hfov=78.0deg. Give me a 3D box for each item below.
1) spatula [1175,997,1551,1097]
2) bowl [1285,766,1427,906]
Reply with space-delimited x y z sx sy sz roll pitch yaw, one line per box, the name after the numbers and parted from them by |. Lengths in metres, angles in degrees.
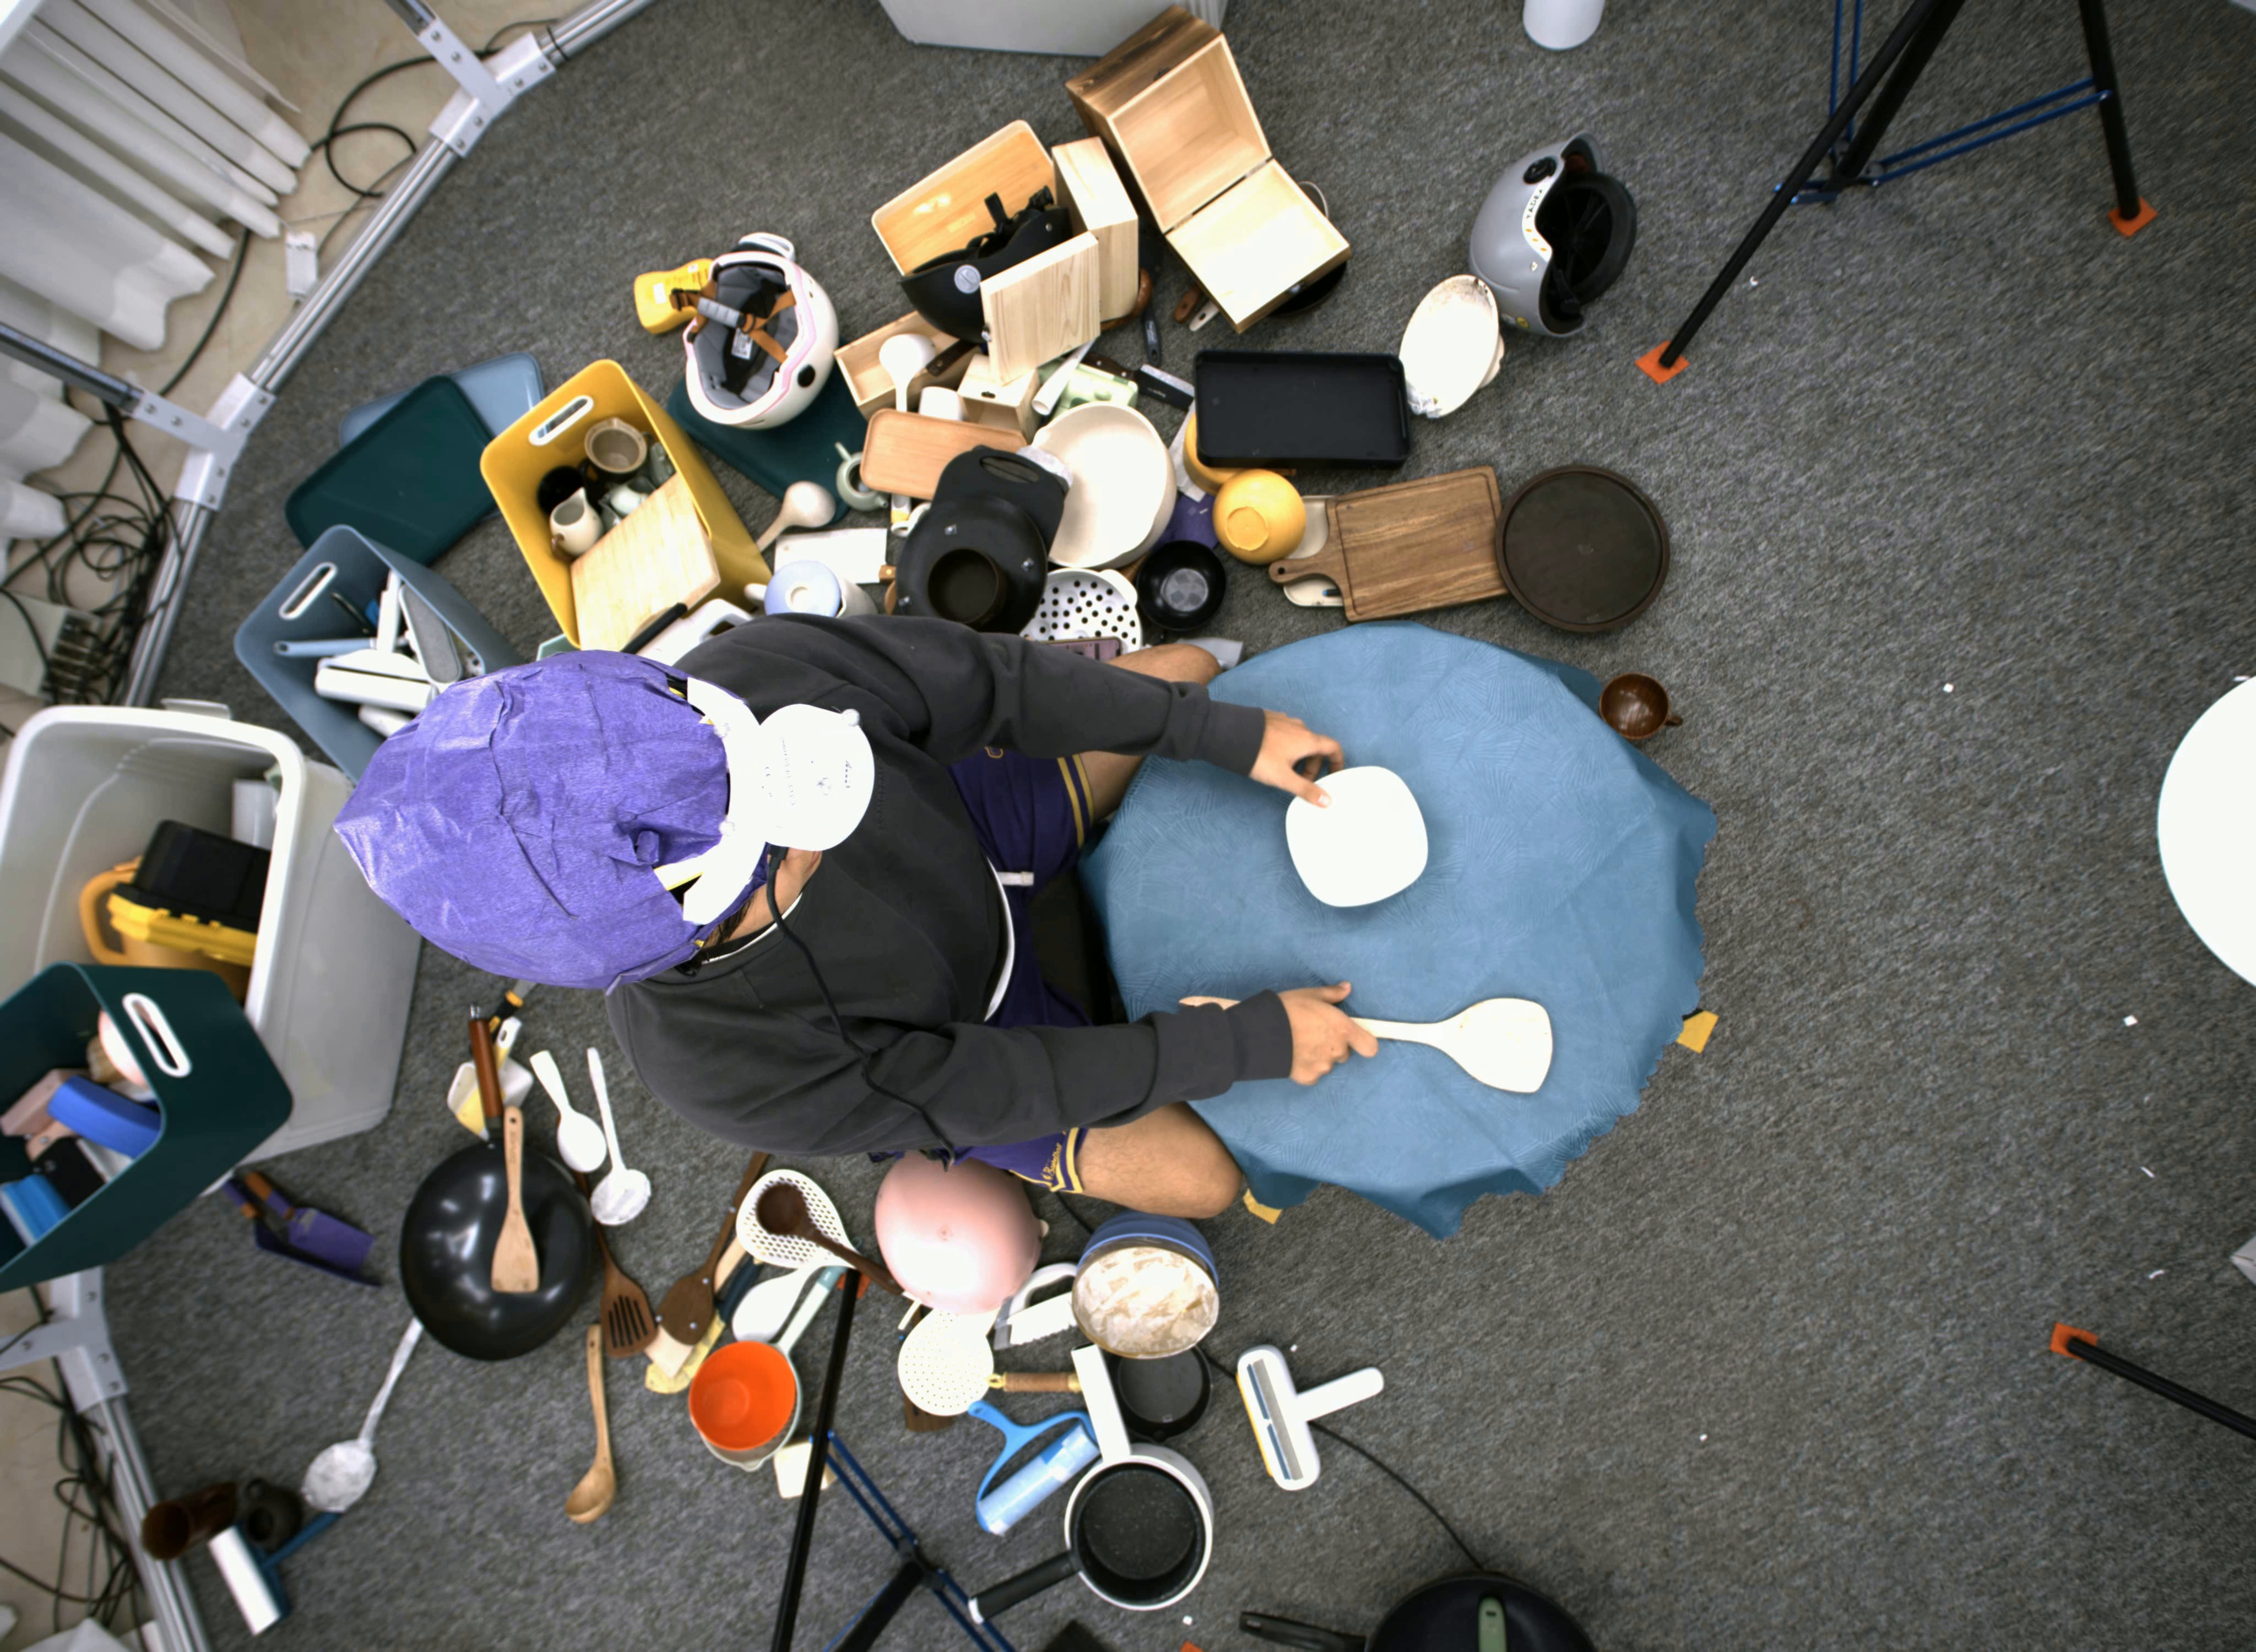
0.241 0.215 1.448 0.392 0.018 0.095 5 86 10 | spatula
0.237 0.012 1.441 0.152 0.059 0.150 -1 86 8 | bowl
